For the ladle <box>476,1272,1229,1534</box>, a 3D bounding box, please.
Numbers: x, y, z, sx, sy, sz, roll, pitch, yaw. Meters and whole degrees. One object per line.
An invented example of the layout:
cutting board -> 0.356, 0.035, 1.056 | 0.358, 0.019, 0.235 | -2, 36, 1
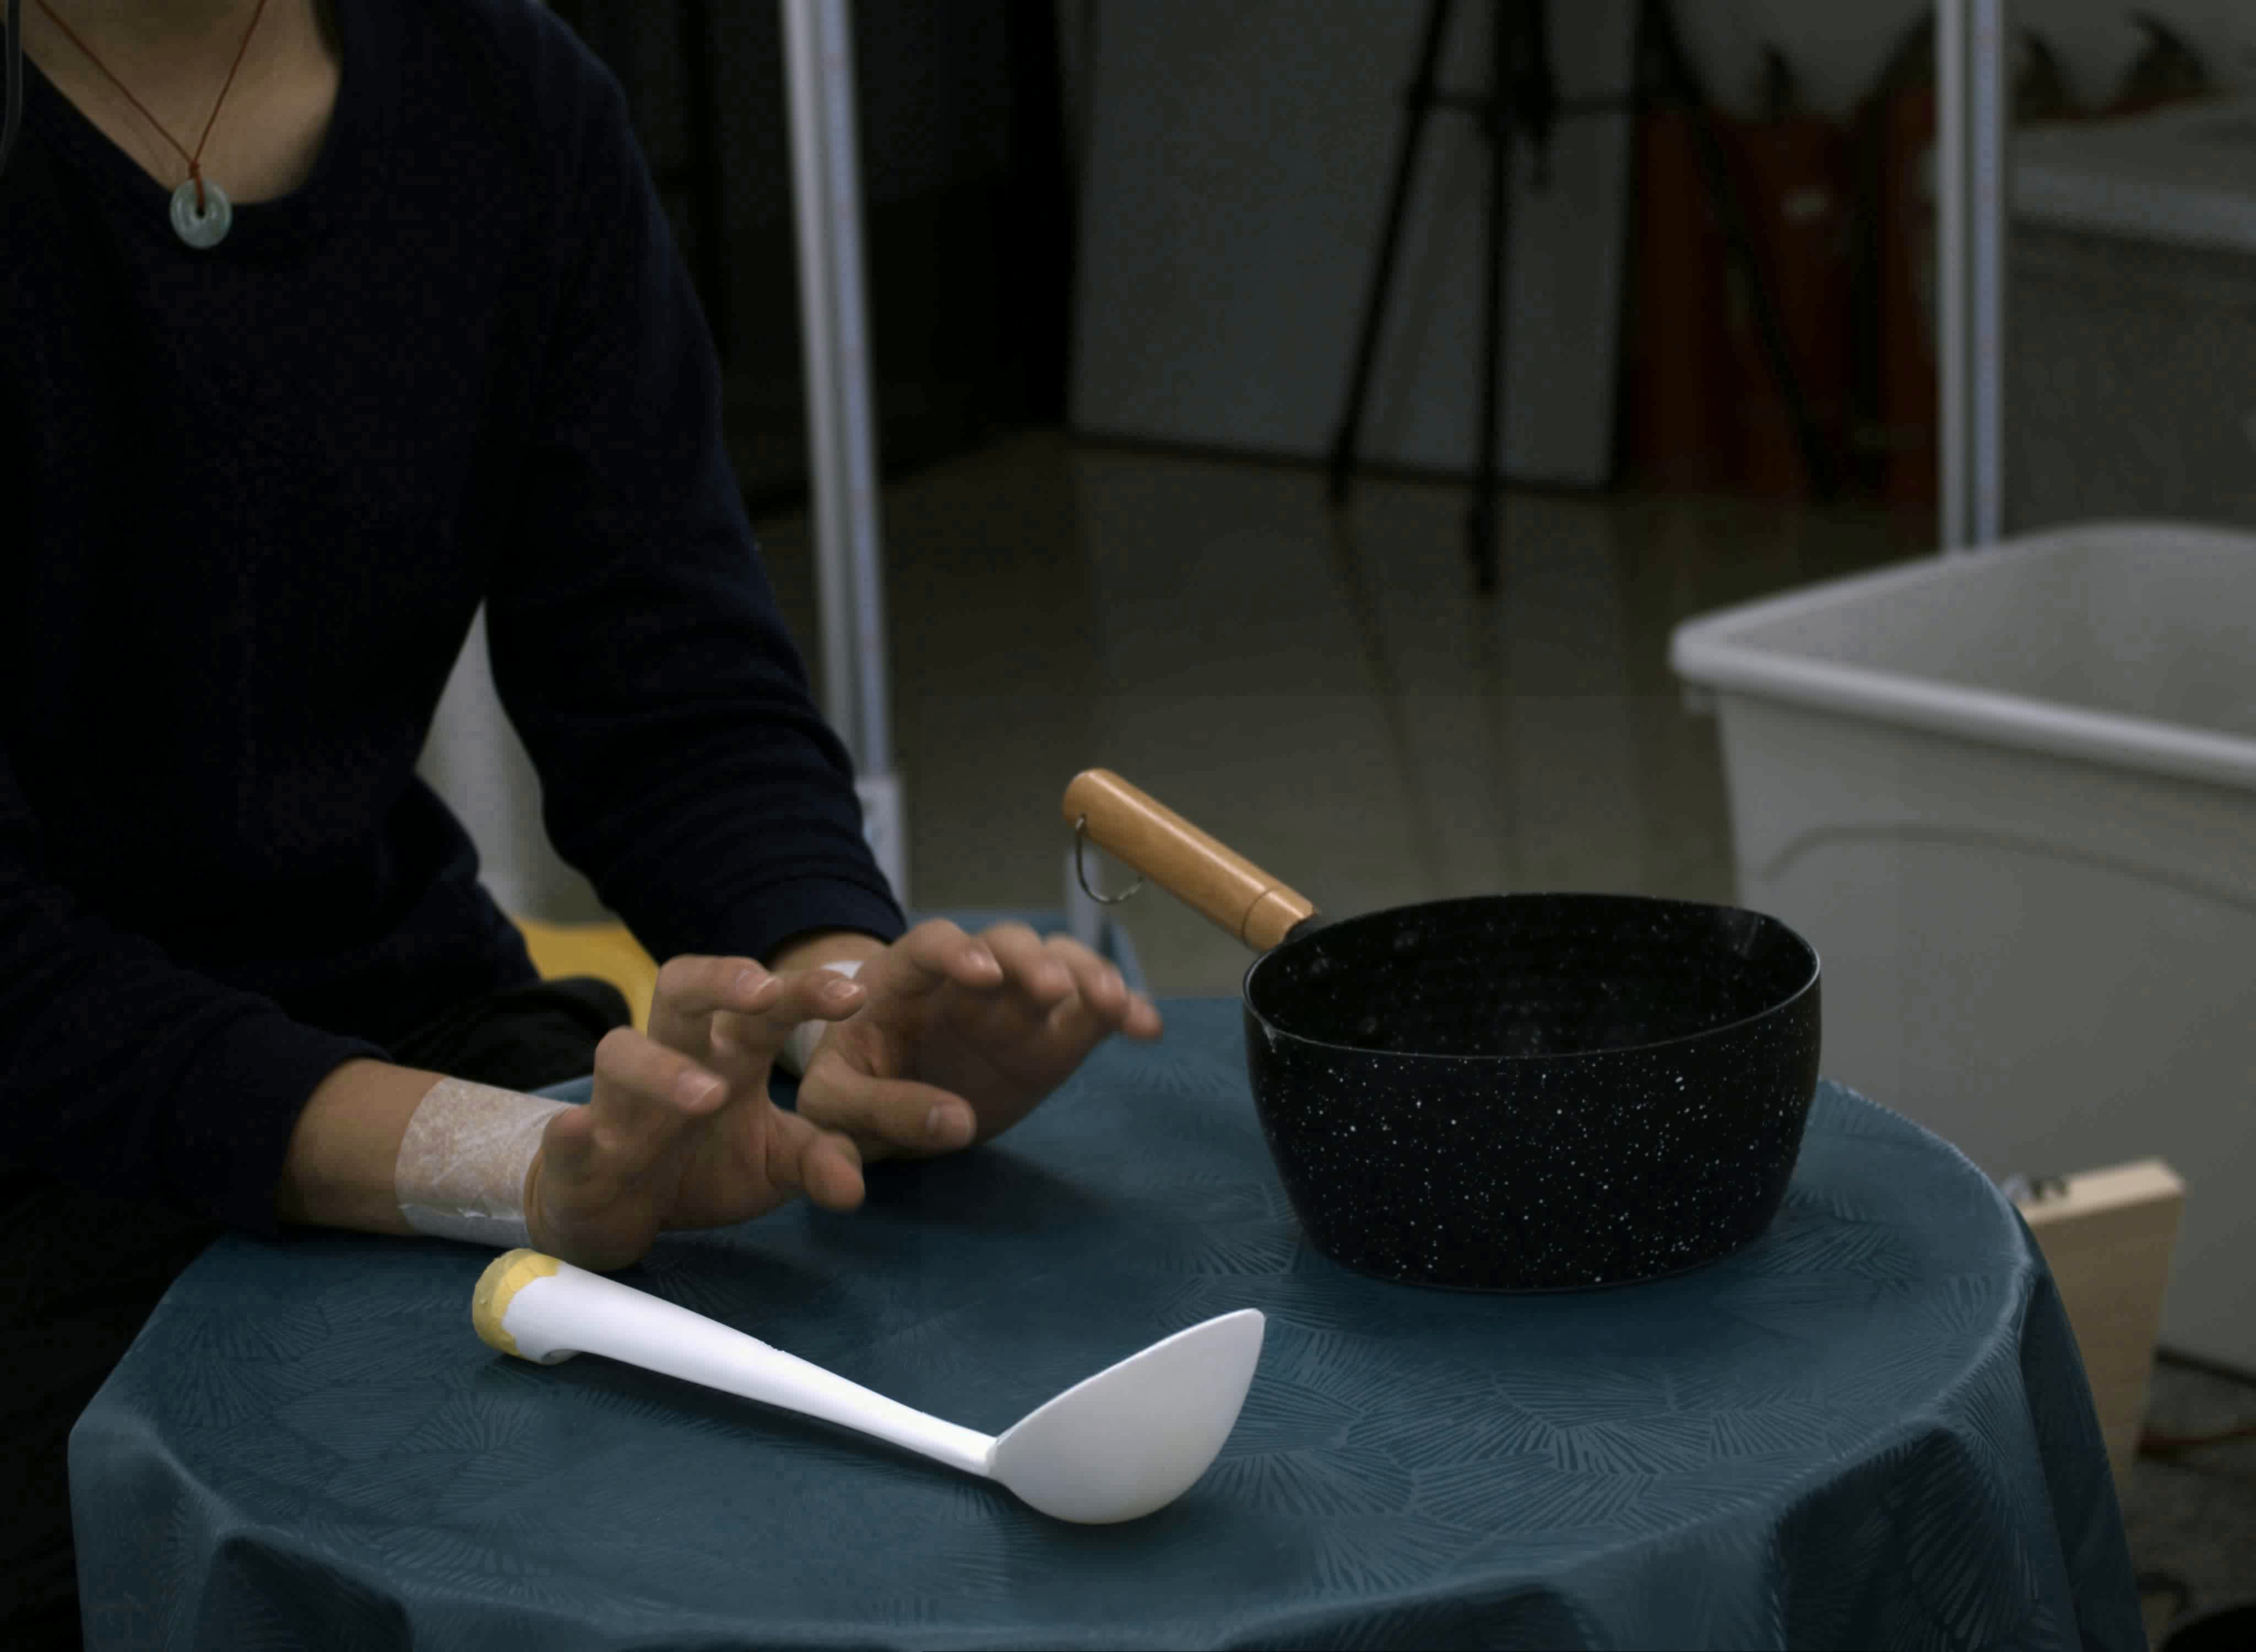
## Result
ladle -> -0.088, 0.150, 1.548 | 0.296, 0.070, 0.088 | 8, 25, 45

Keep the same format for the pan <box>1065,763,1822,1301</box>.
pan -> 0.082, 0.061, 1.764 | 0.203, 0.109, 0.346 | -14, 18, -33
